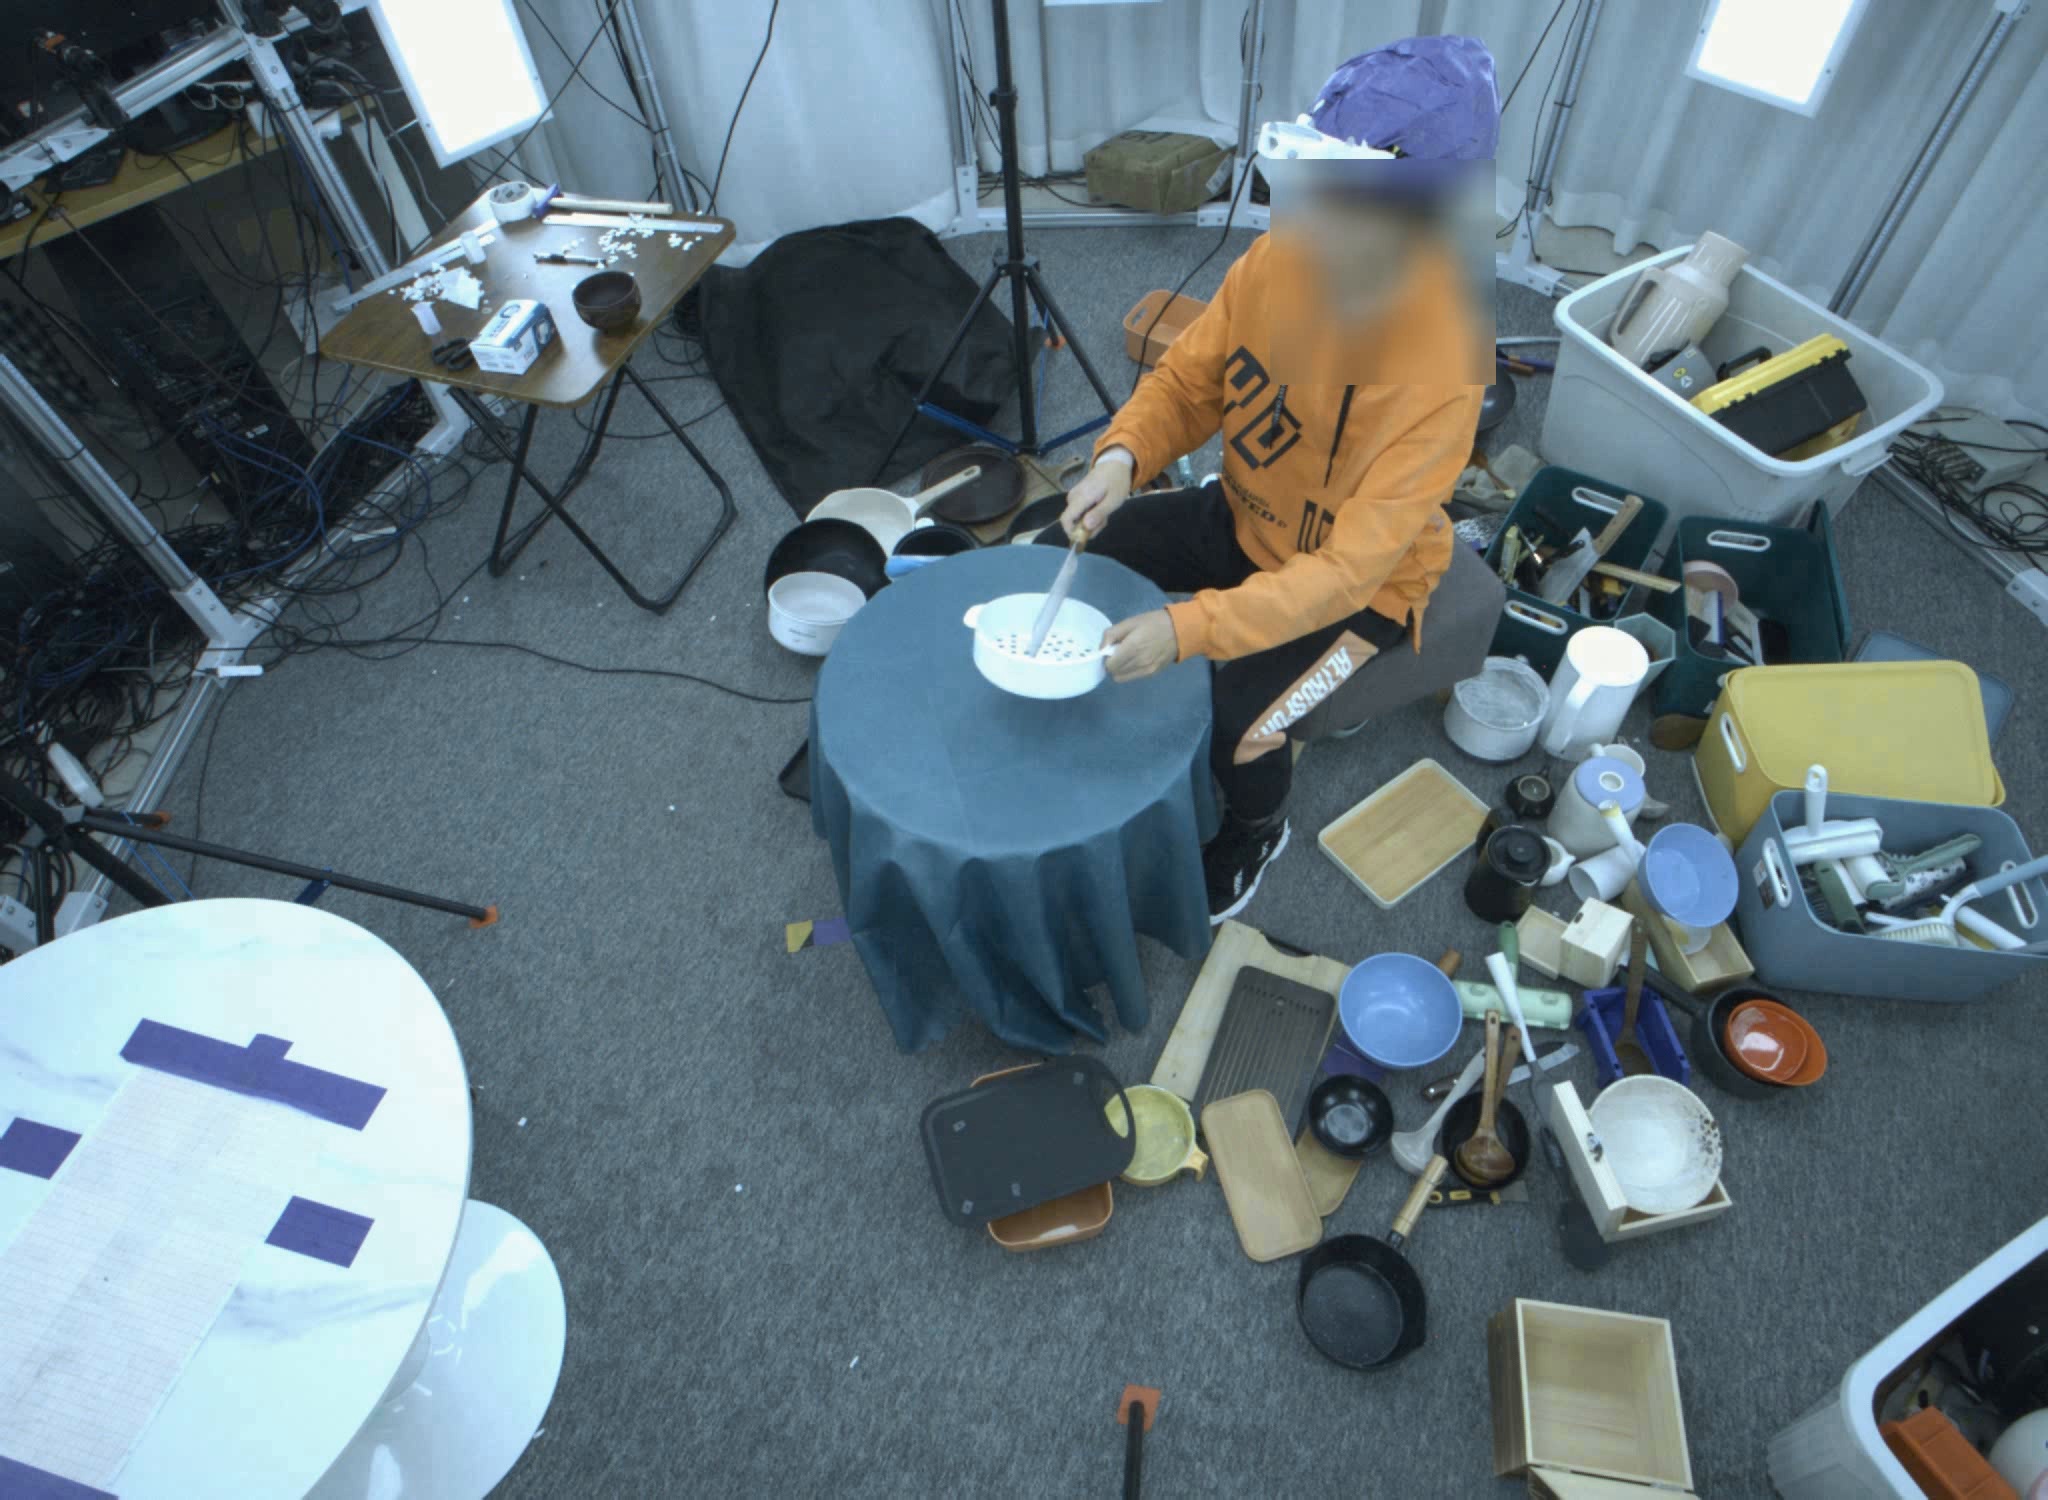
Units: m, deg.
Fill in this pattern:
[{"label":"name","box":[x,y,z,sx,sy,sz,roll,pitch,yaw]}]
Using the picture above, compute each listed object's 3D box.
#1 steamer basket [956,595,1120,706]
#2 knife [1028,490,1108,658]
[{"label":"steamer basket","box":[0.019,-0.140,1.740,0.229,0.070,0.201,10,39,8]},{"label":"knife","box":[0.061,-0.251,1.752,0.021,0.093,0.305,18,54,9]}]
